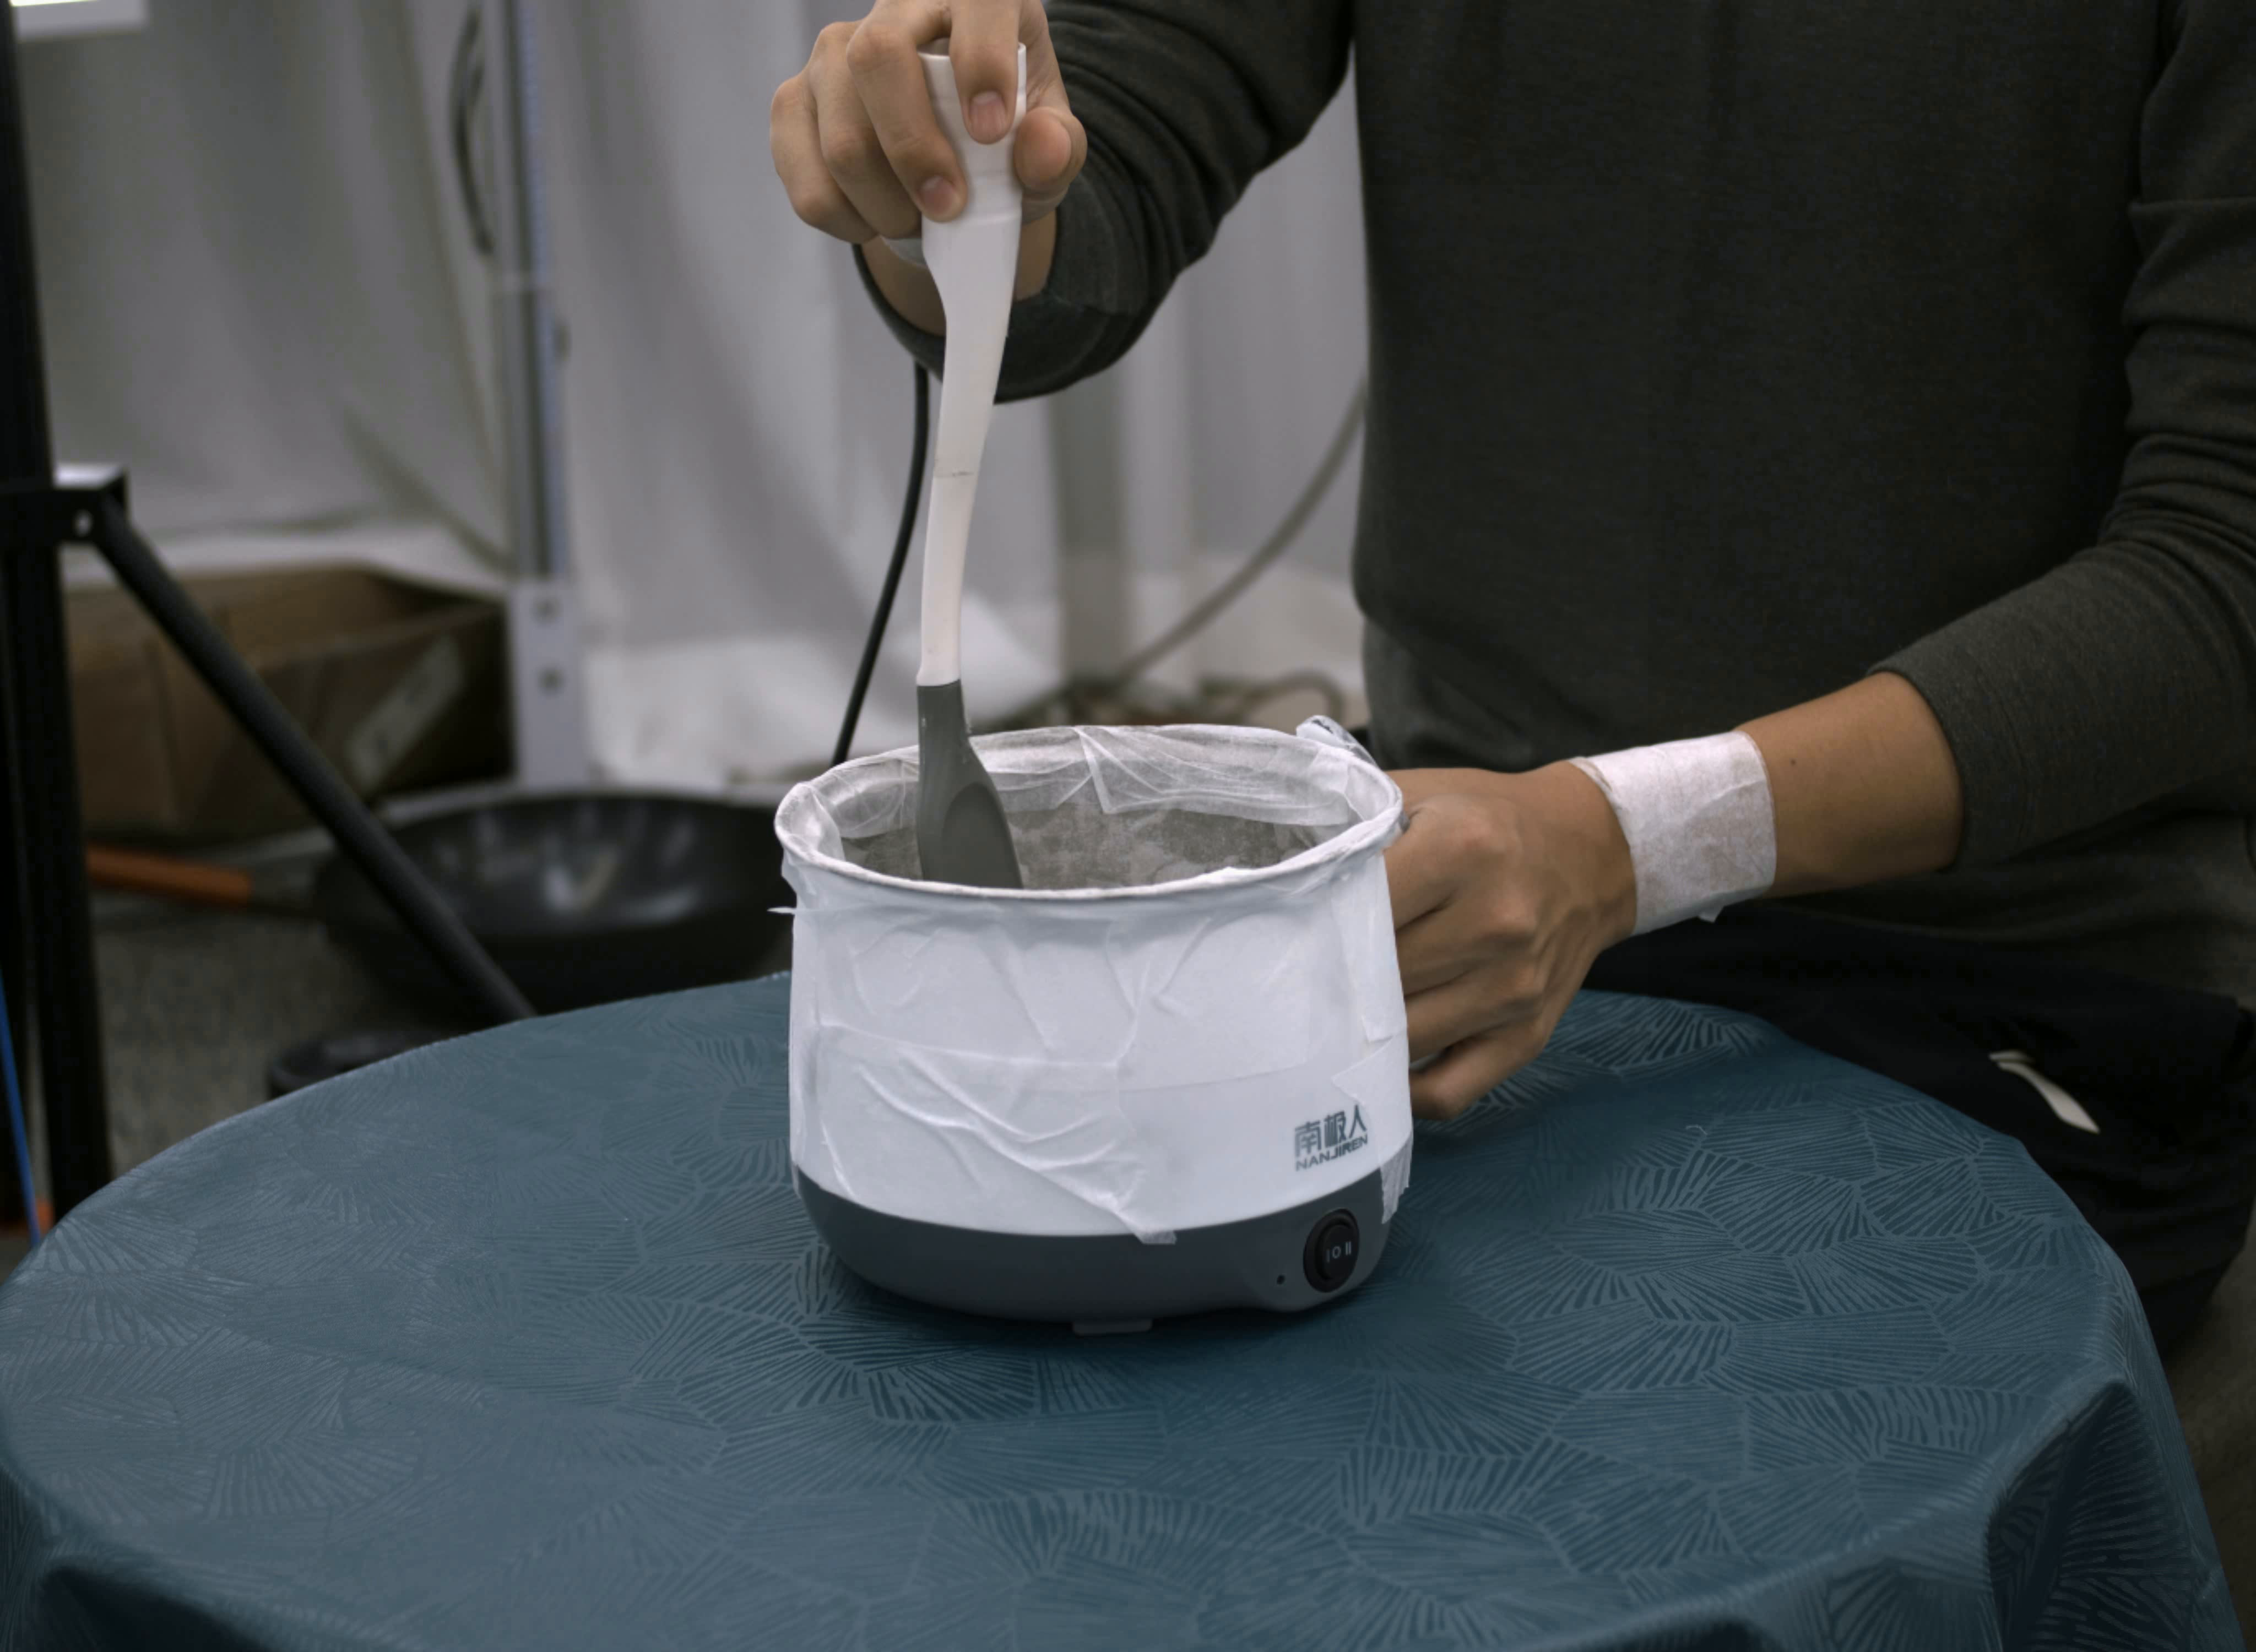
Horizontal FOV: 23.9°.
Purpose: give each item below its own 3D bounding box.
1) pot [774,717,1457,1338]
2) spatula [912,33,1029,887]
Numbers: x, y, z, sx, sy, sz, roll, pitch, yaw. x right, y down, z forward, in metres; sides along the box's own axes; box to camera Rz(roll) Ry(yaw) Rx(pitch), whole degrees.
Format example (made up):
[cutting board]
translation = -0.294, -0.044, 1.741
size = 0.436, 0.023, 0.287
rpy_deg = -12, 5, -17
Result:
[pot]
translation = 0.009, 0.049, 1.519
size = 0.183, 0.136, 0.228
rpy_deg = 12, 21, 41
[spatula]
translation = -0.043, -0.073, 1.482
size = 0.033, 0.288, 0.058
rpy_deg = 8, 18, 25
